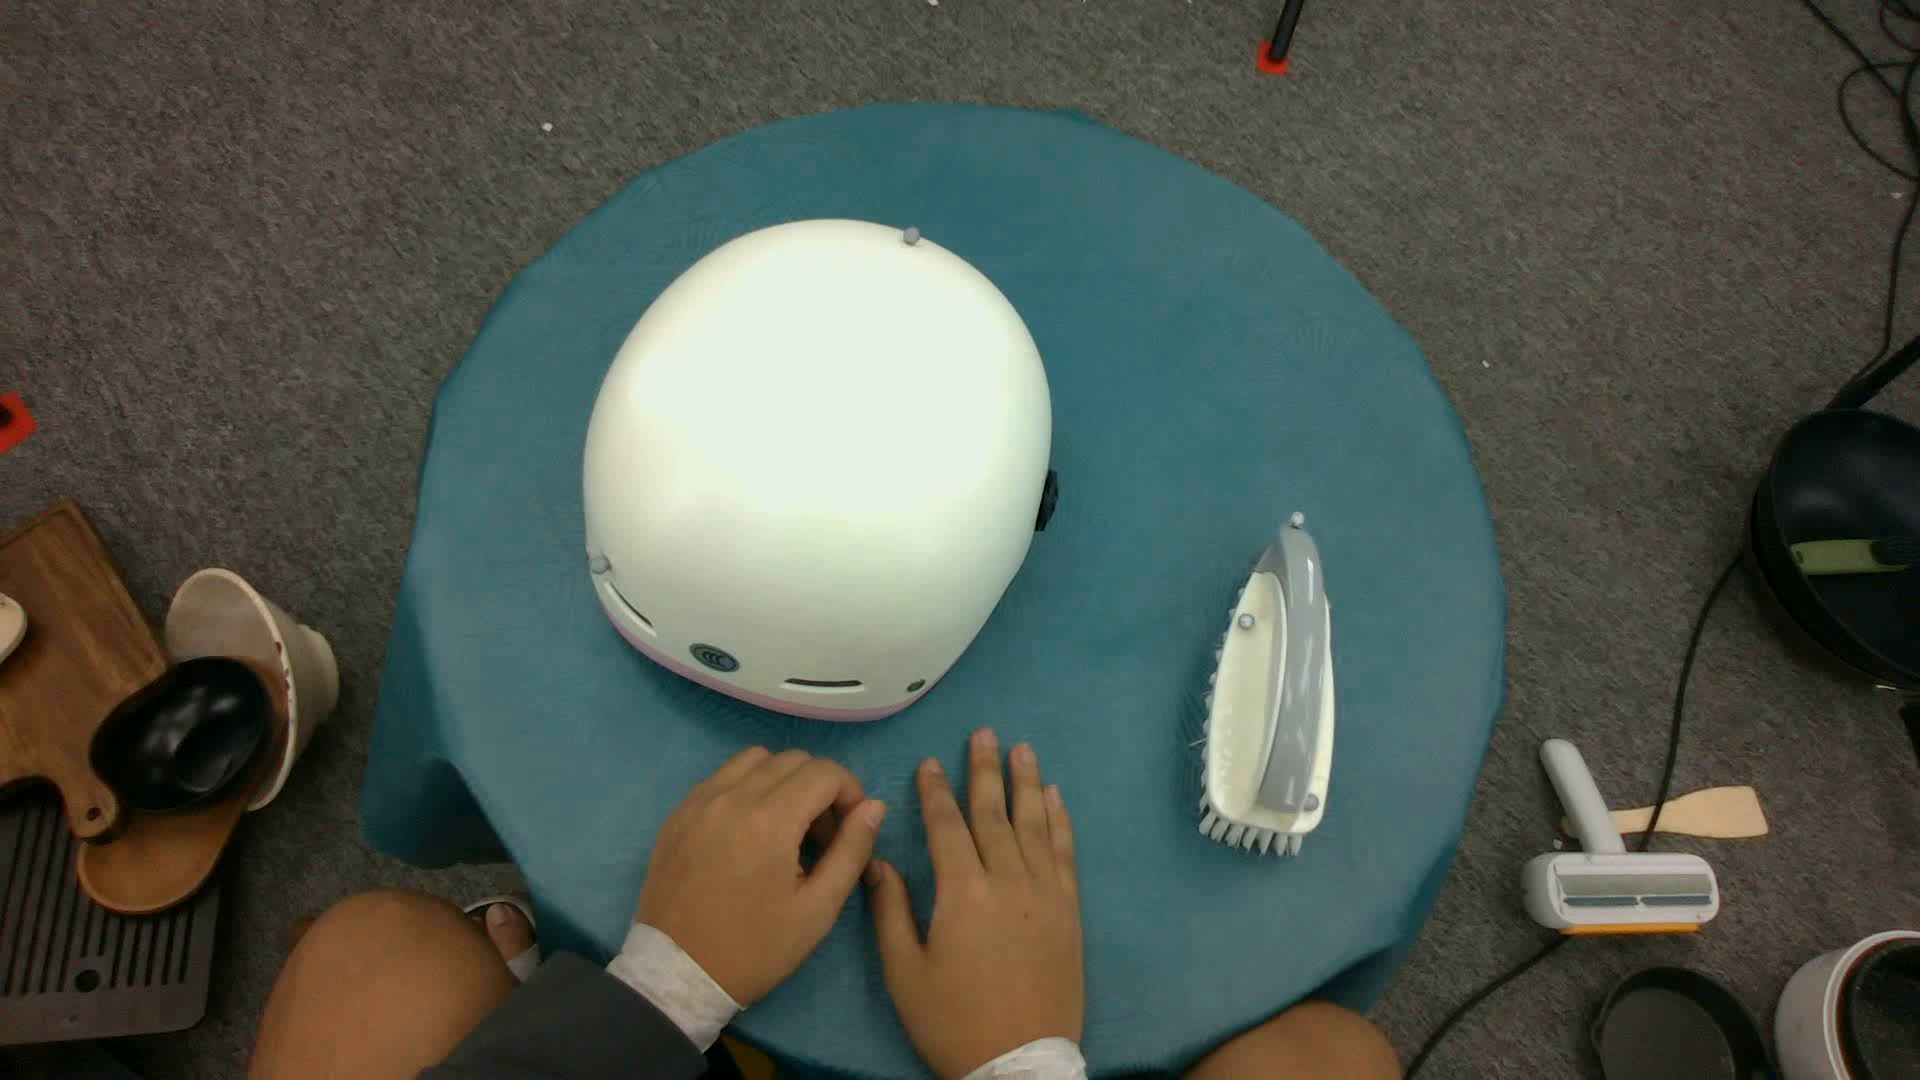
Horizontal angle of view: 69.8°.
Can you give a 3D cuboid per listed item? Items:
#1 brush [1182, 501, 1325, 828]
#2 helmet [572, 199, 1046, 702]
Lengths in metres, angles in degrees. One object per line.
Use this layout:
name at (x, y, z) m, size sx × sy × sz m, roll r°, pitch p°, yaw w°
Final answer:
brush at (0.155, 0.049, 0.696) m, size 0.061 × 0.094 × 0.176 m, roll 13°, pitch 61°, yaw -3°
helmet at (-0.072, -0.068, 0.681) m, size 0.237 × 0.166 × 0.270 m, roll 22°, pitch 62°, yaw 4°
